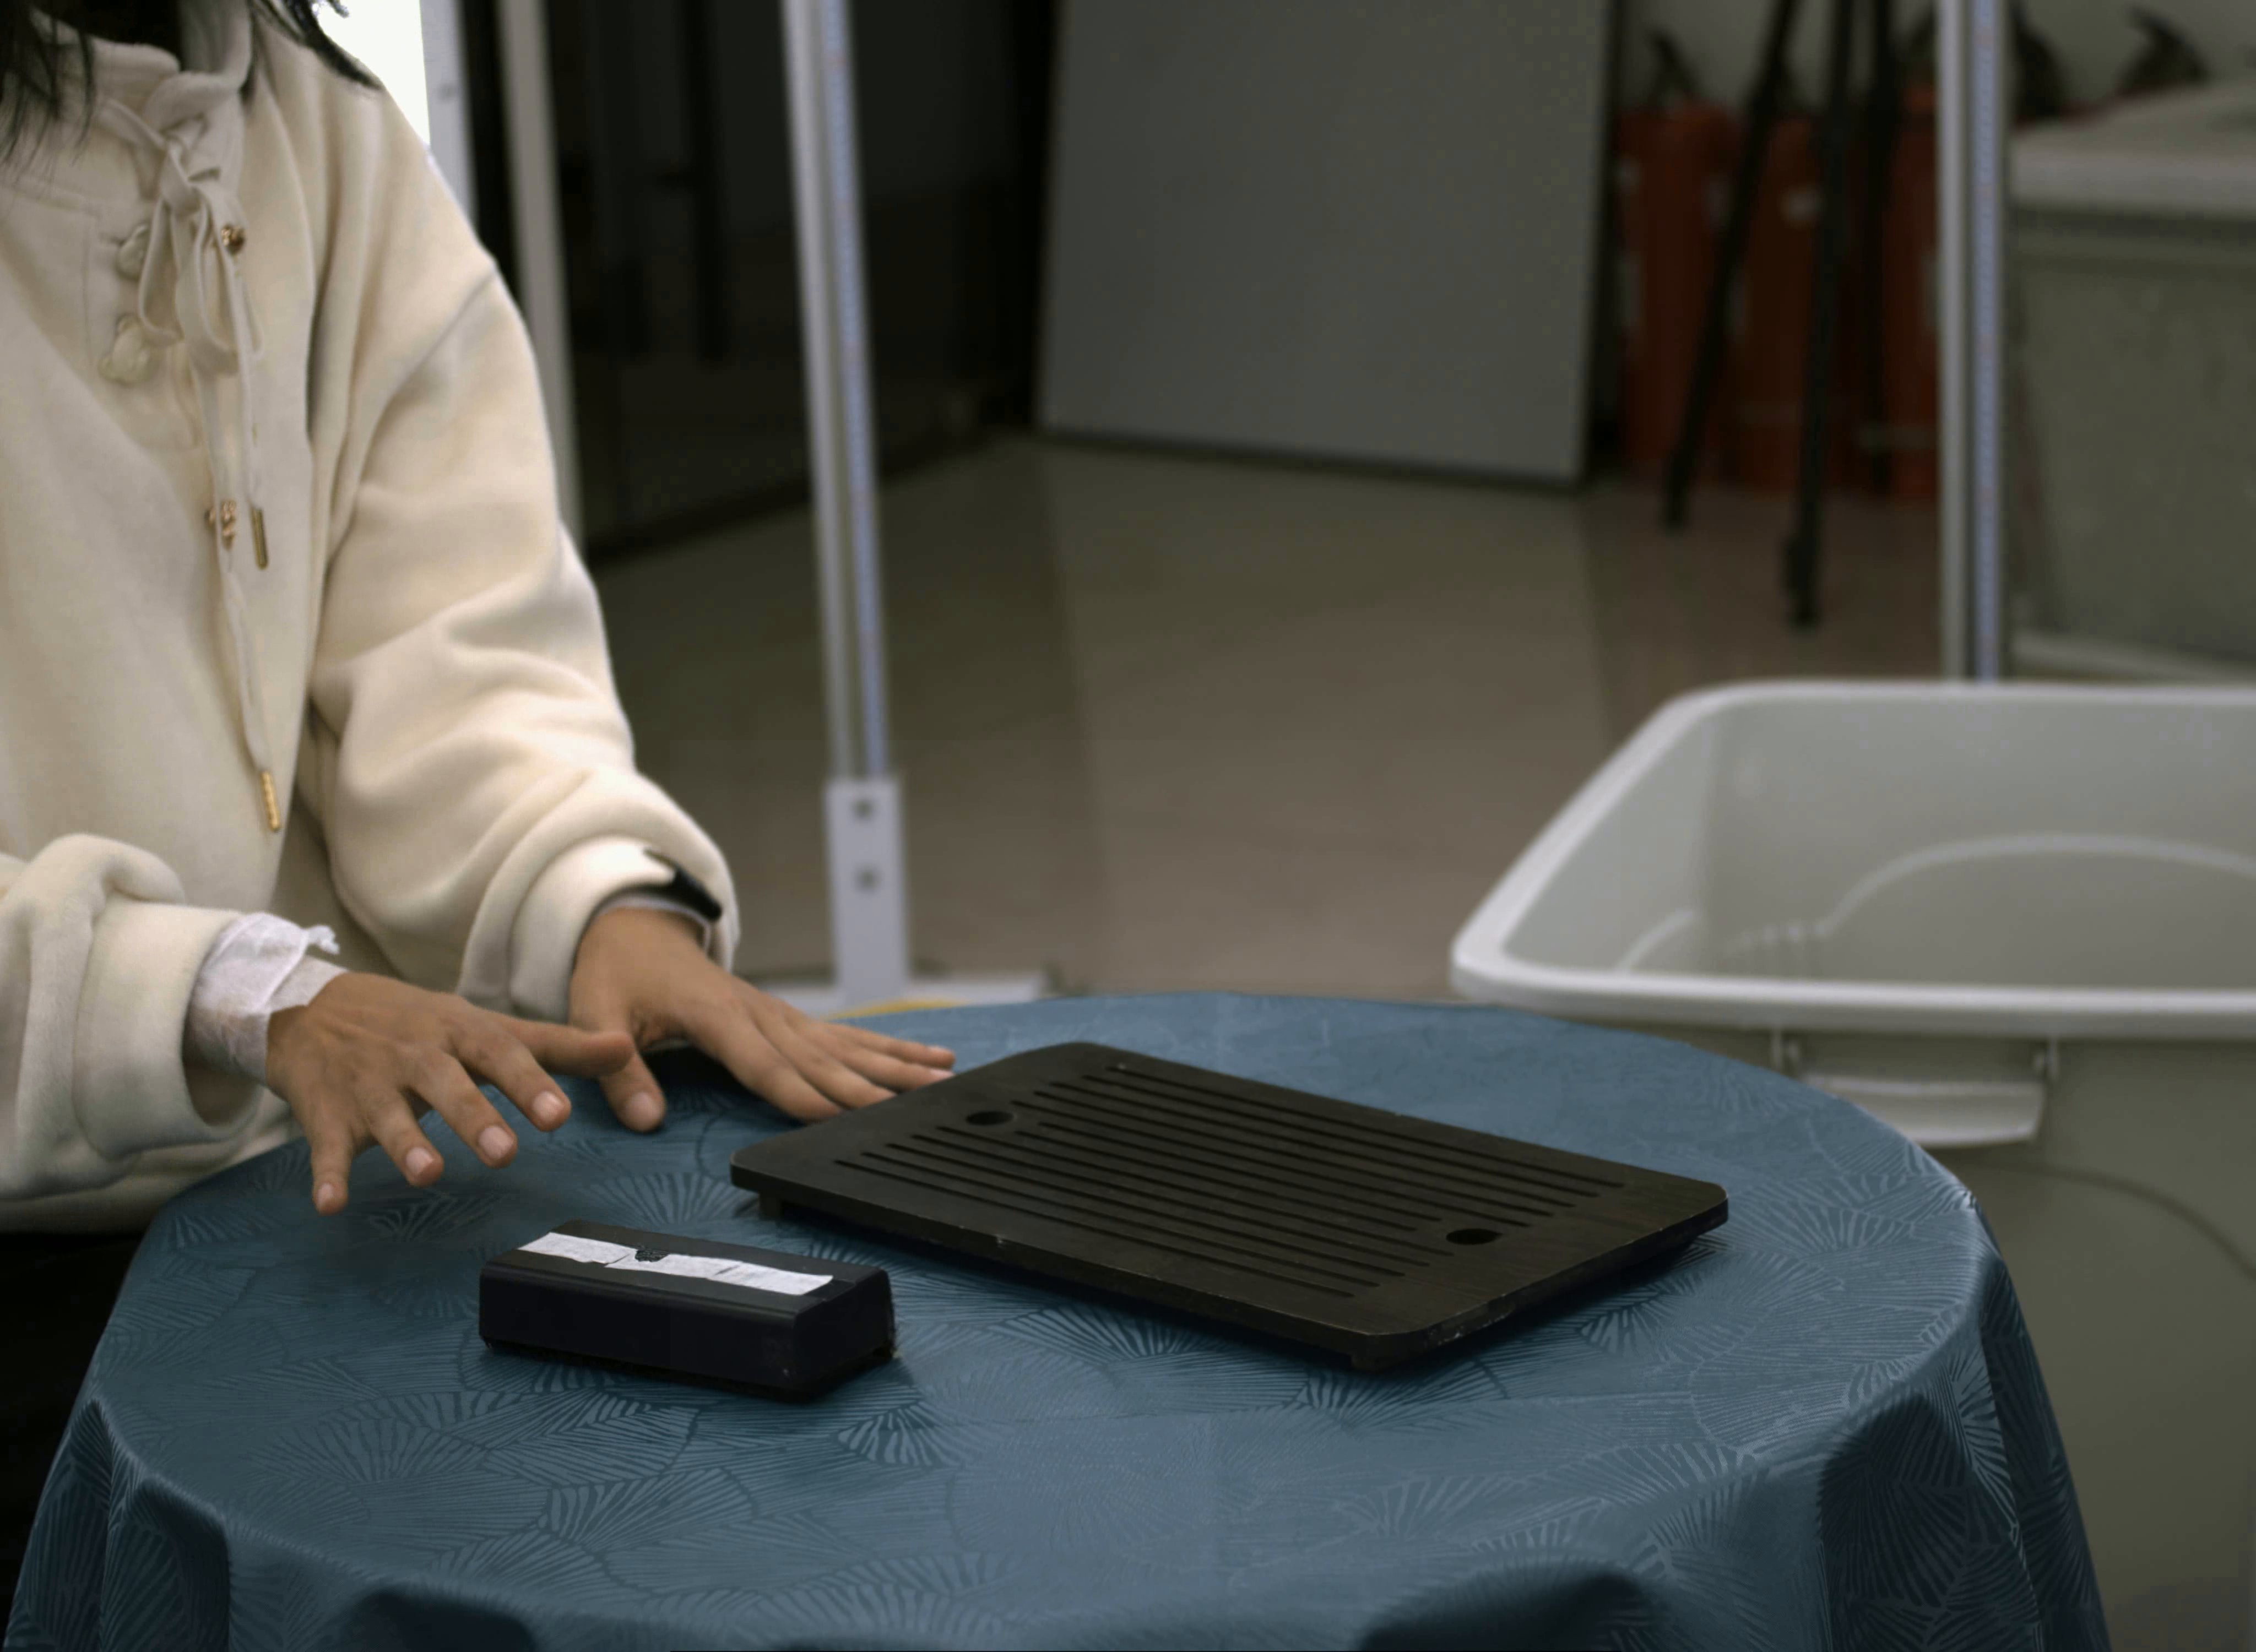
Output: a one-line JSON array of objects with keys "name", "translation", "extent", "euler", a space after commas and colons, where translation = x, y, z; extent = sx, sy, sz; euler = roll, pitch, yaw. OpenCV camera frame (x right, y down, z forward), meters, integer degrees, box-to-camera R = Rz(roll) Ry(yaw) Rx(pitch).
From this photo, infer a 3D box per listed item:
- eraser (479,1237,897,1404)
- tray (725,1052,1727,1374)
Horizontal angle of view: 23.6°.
[{"name": "eraser", "translation": [-0.133, 0.149, 1.640], "extent": [0.126, 0.031, 0.052], "euler": [4, 13, 34]}, {"name": "tray", "translation": [0.027, 0.121, 1.725], "extent": [0.166, 0.019, 0.309], "euler": [-17, 19, -42]}]
